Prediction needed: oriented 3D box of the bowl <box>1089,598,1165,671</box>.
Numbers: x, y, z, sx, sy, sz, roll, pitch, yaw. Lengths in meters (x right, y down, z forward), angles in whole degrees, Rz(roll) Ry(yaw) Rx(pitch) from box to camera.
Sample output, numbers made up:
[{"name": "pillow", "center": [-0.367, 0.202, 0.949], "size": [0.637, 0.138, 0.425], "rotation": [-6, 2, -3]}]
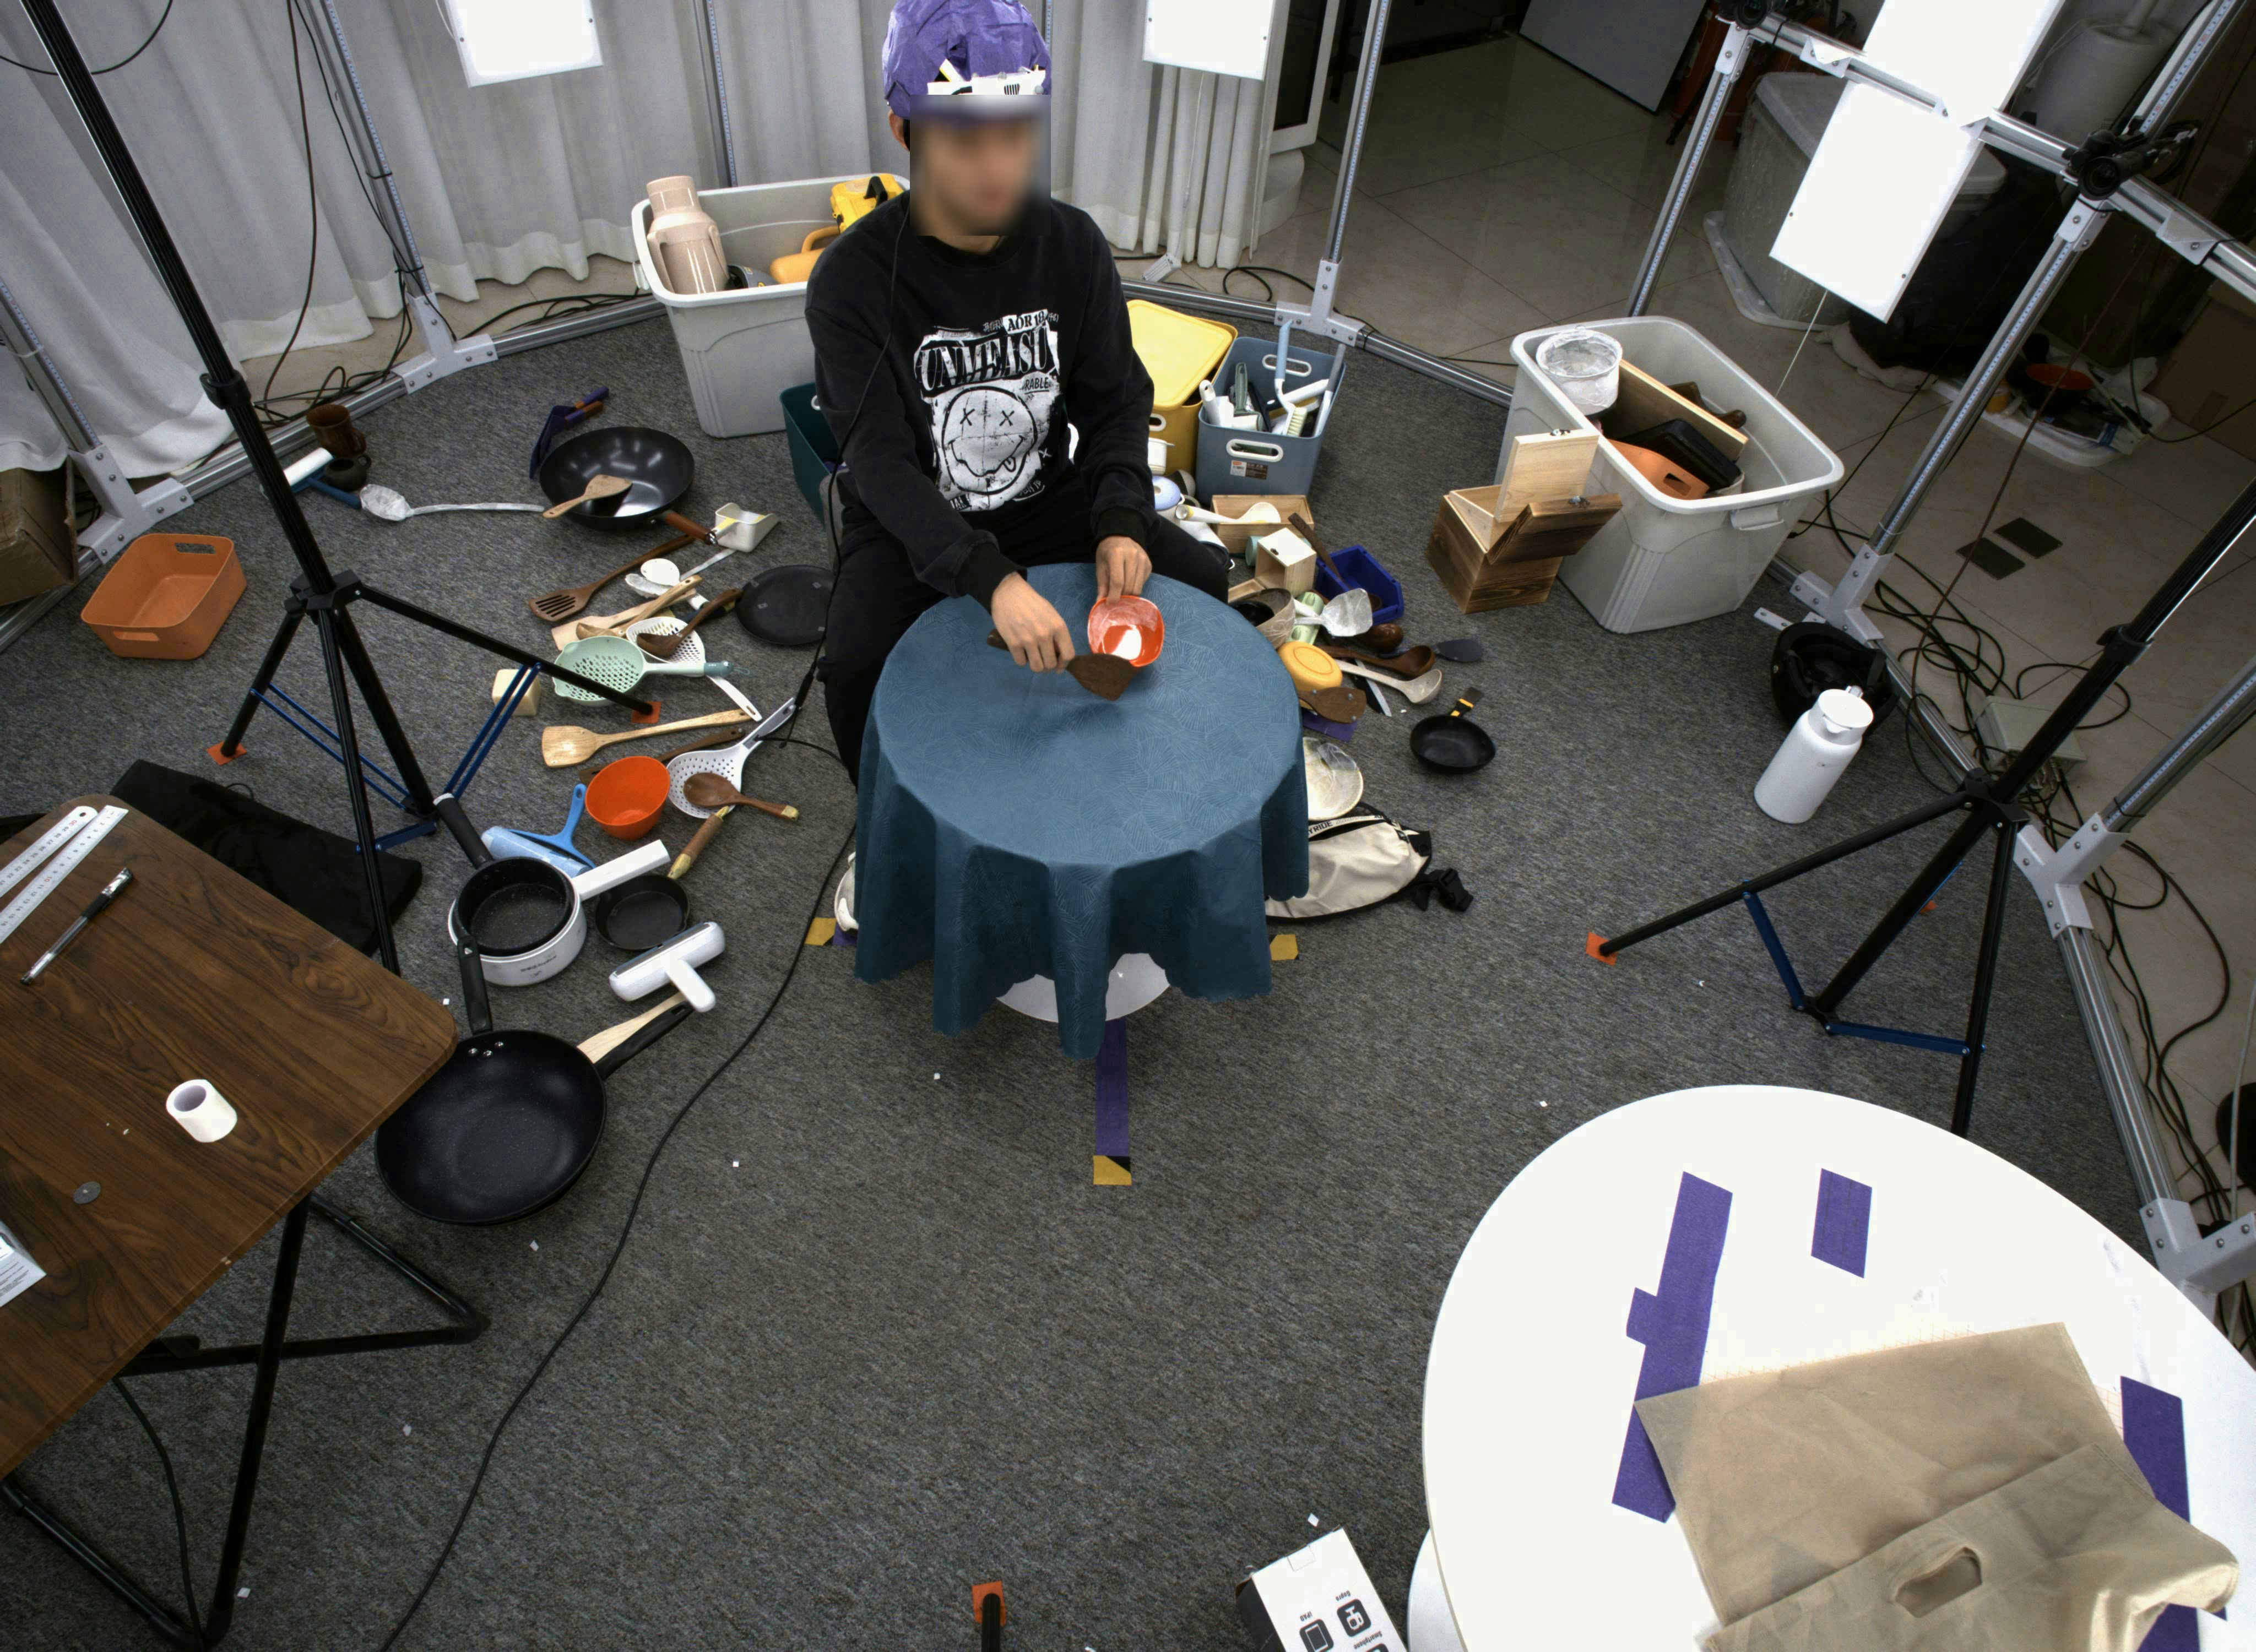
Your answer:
[{"name": "bowl", "center": [-0.005, -0.273, 1.873], "size": [0.118, 0.051, 0.120], "rotation": [2, 75, -8]}]

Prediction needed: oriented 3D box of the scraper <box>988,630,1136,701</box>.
[{"name": "scraper", "center": [-0.093, -0.230, 1.779], "size": [0.209, 0.074, 0.011], "rotation": [16, 39, -20]}]
